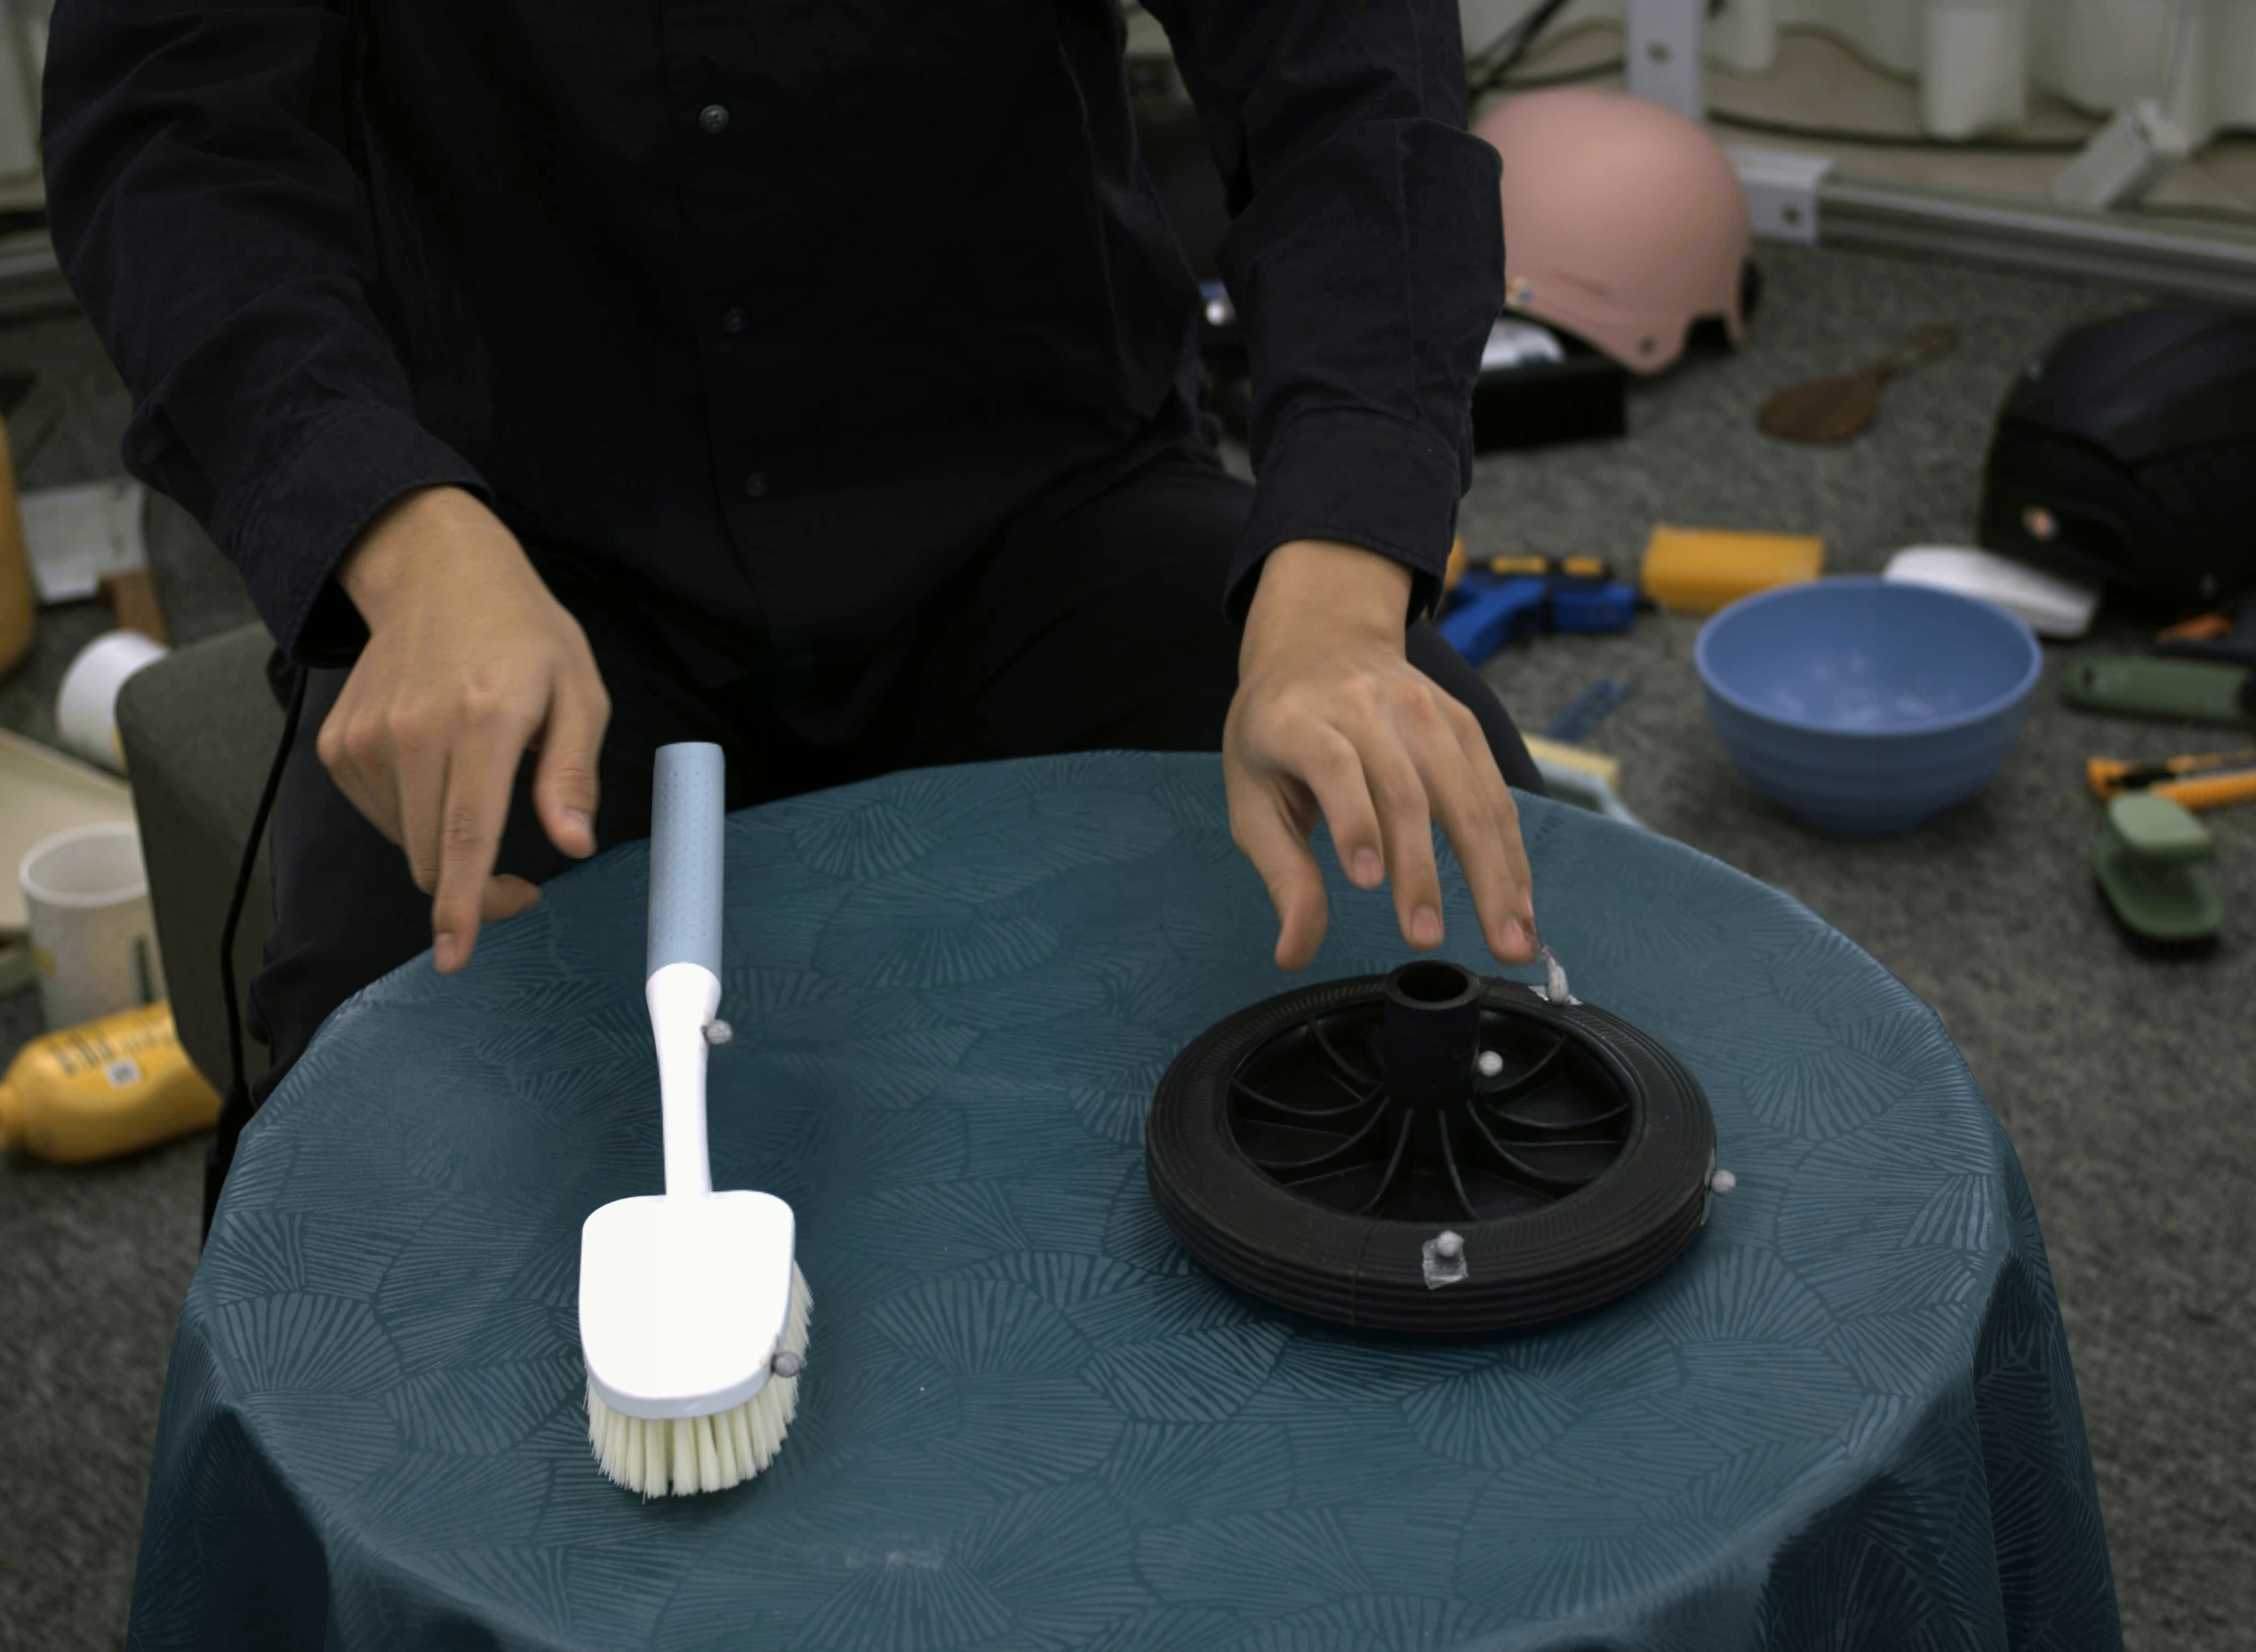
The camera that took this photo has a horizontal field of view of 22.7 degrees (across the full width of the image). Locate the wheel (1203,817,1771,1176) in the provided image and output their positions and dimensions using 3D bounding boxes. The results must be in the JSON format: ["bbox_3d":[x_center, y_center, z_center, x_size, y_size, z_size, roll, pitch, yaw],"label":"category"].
[{"bbox_3d":[0.118,0.039,1.861,0.190,0.078,0.189,-9,31,-12],"label":"wheel"}]

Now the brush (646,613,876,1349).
[{"bbox_3d":[-0.117,0.058,1.849,0.083,0.083,0.331,27,34,-22],"label":"brush"}]
